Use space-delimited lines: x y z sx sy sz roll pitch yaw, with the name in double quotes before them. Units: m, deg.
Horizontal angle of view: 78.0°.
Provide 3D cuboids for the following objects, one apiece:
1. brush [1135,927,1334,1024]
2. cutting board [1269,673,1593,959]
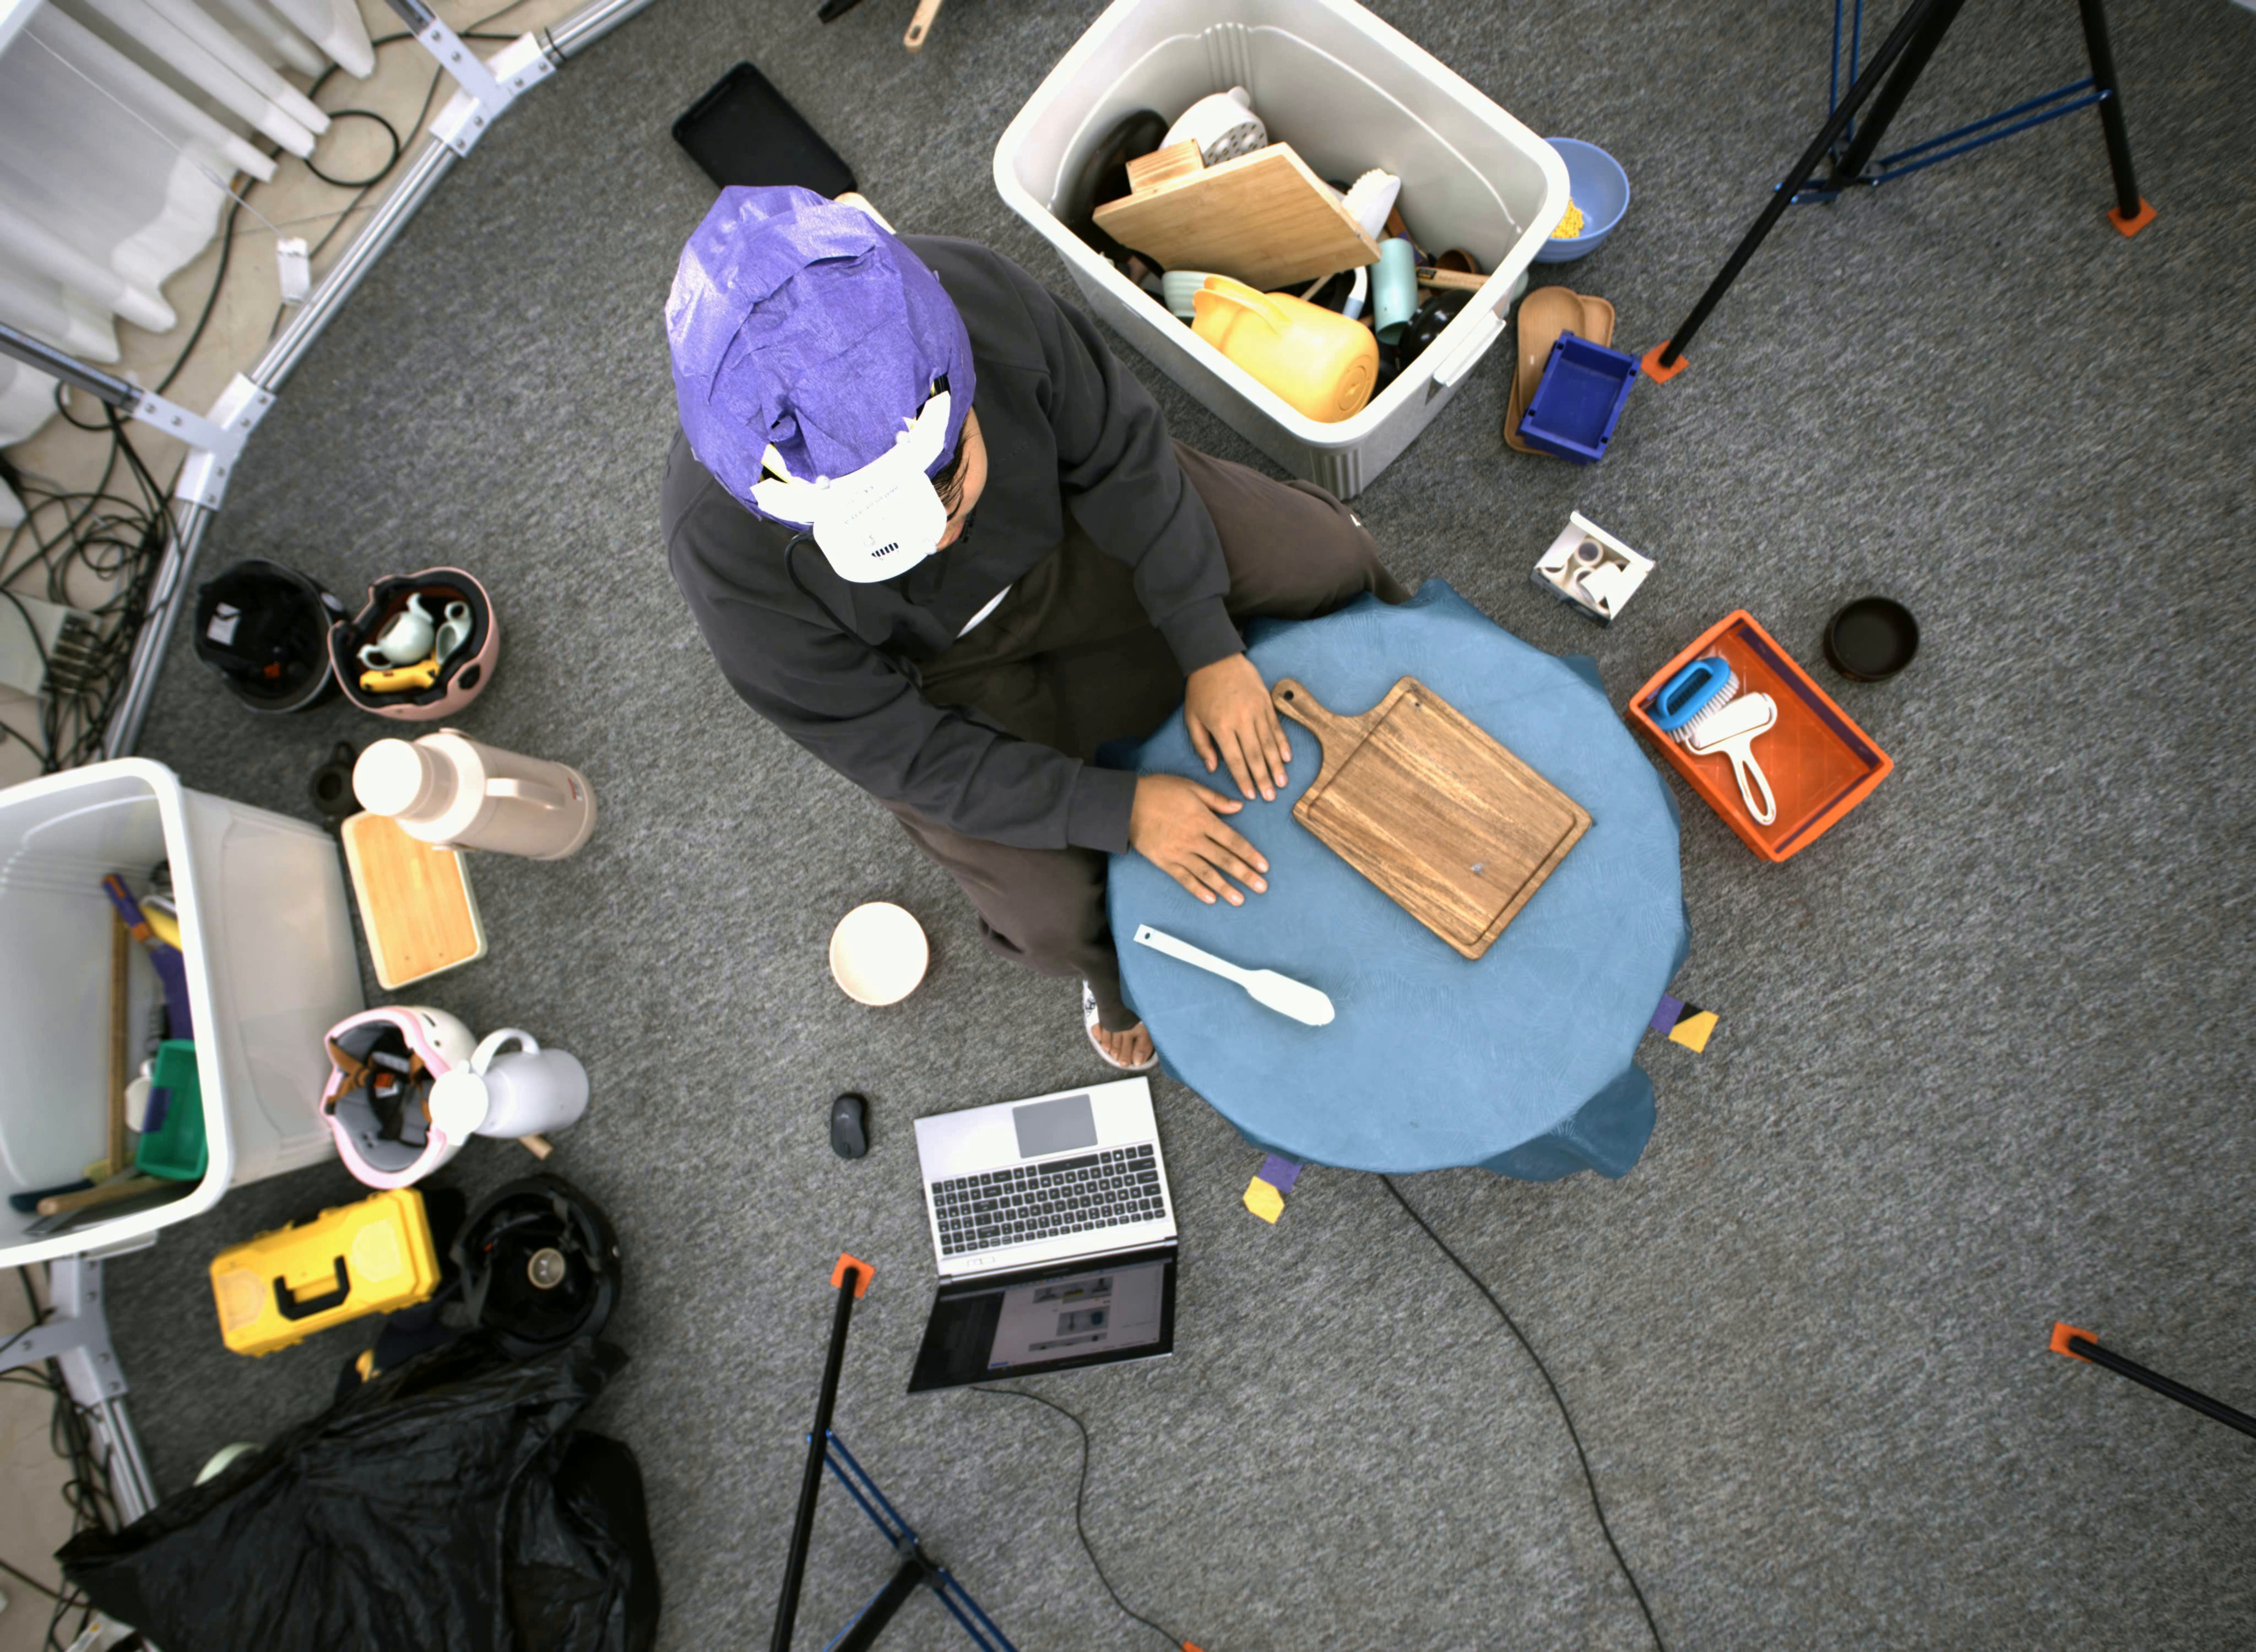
"brush" 0.110 0.156 1.471 0.228 0.050 0.037 20 82 20
"cutting board" 0.291 -0.045 1.453 0.351 0.023 0.201 40 94 11
